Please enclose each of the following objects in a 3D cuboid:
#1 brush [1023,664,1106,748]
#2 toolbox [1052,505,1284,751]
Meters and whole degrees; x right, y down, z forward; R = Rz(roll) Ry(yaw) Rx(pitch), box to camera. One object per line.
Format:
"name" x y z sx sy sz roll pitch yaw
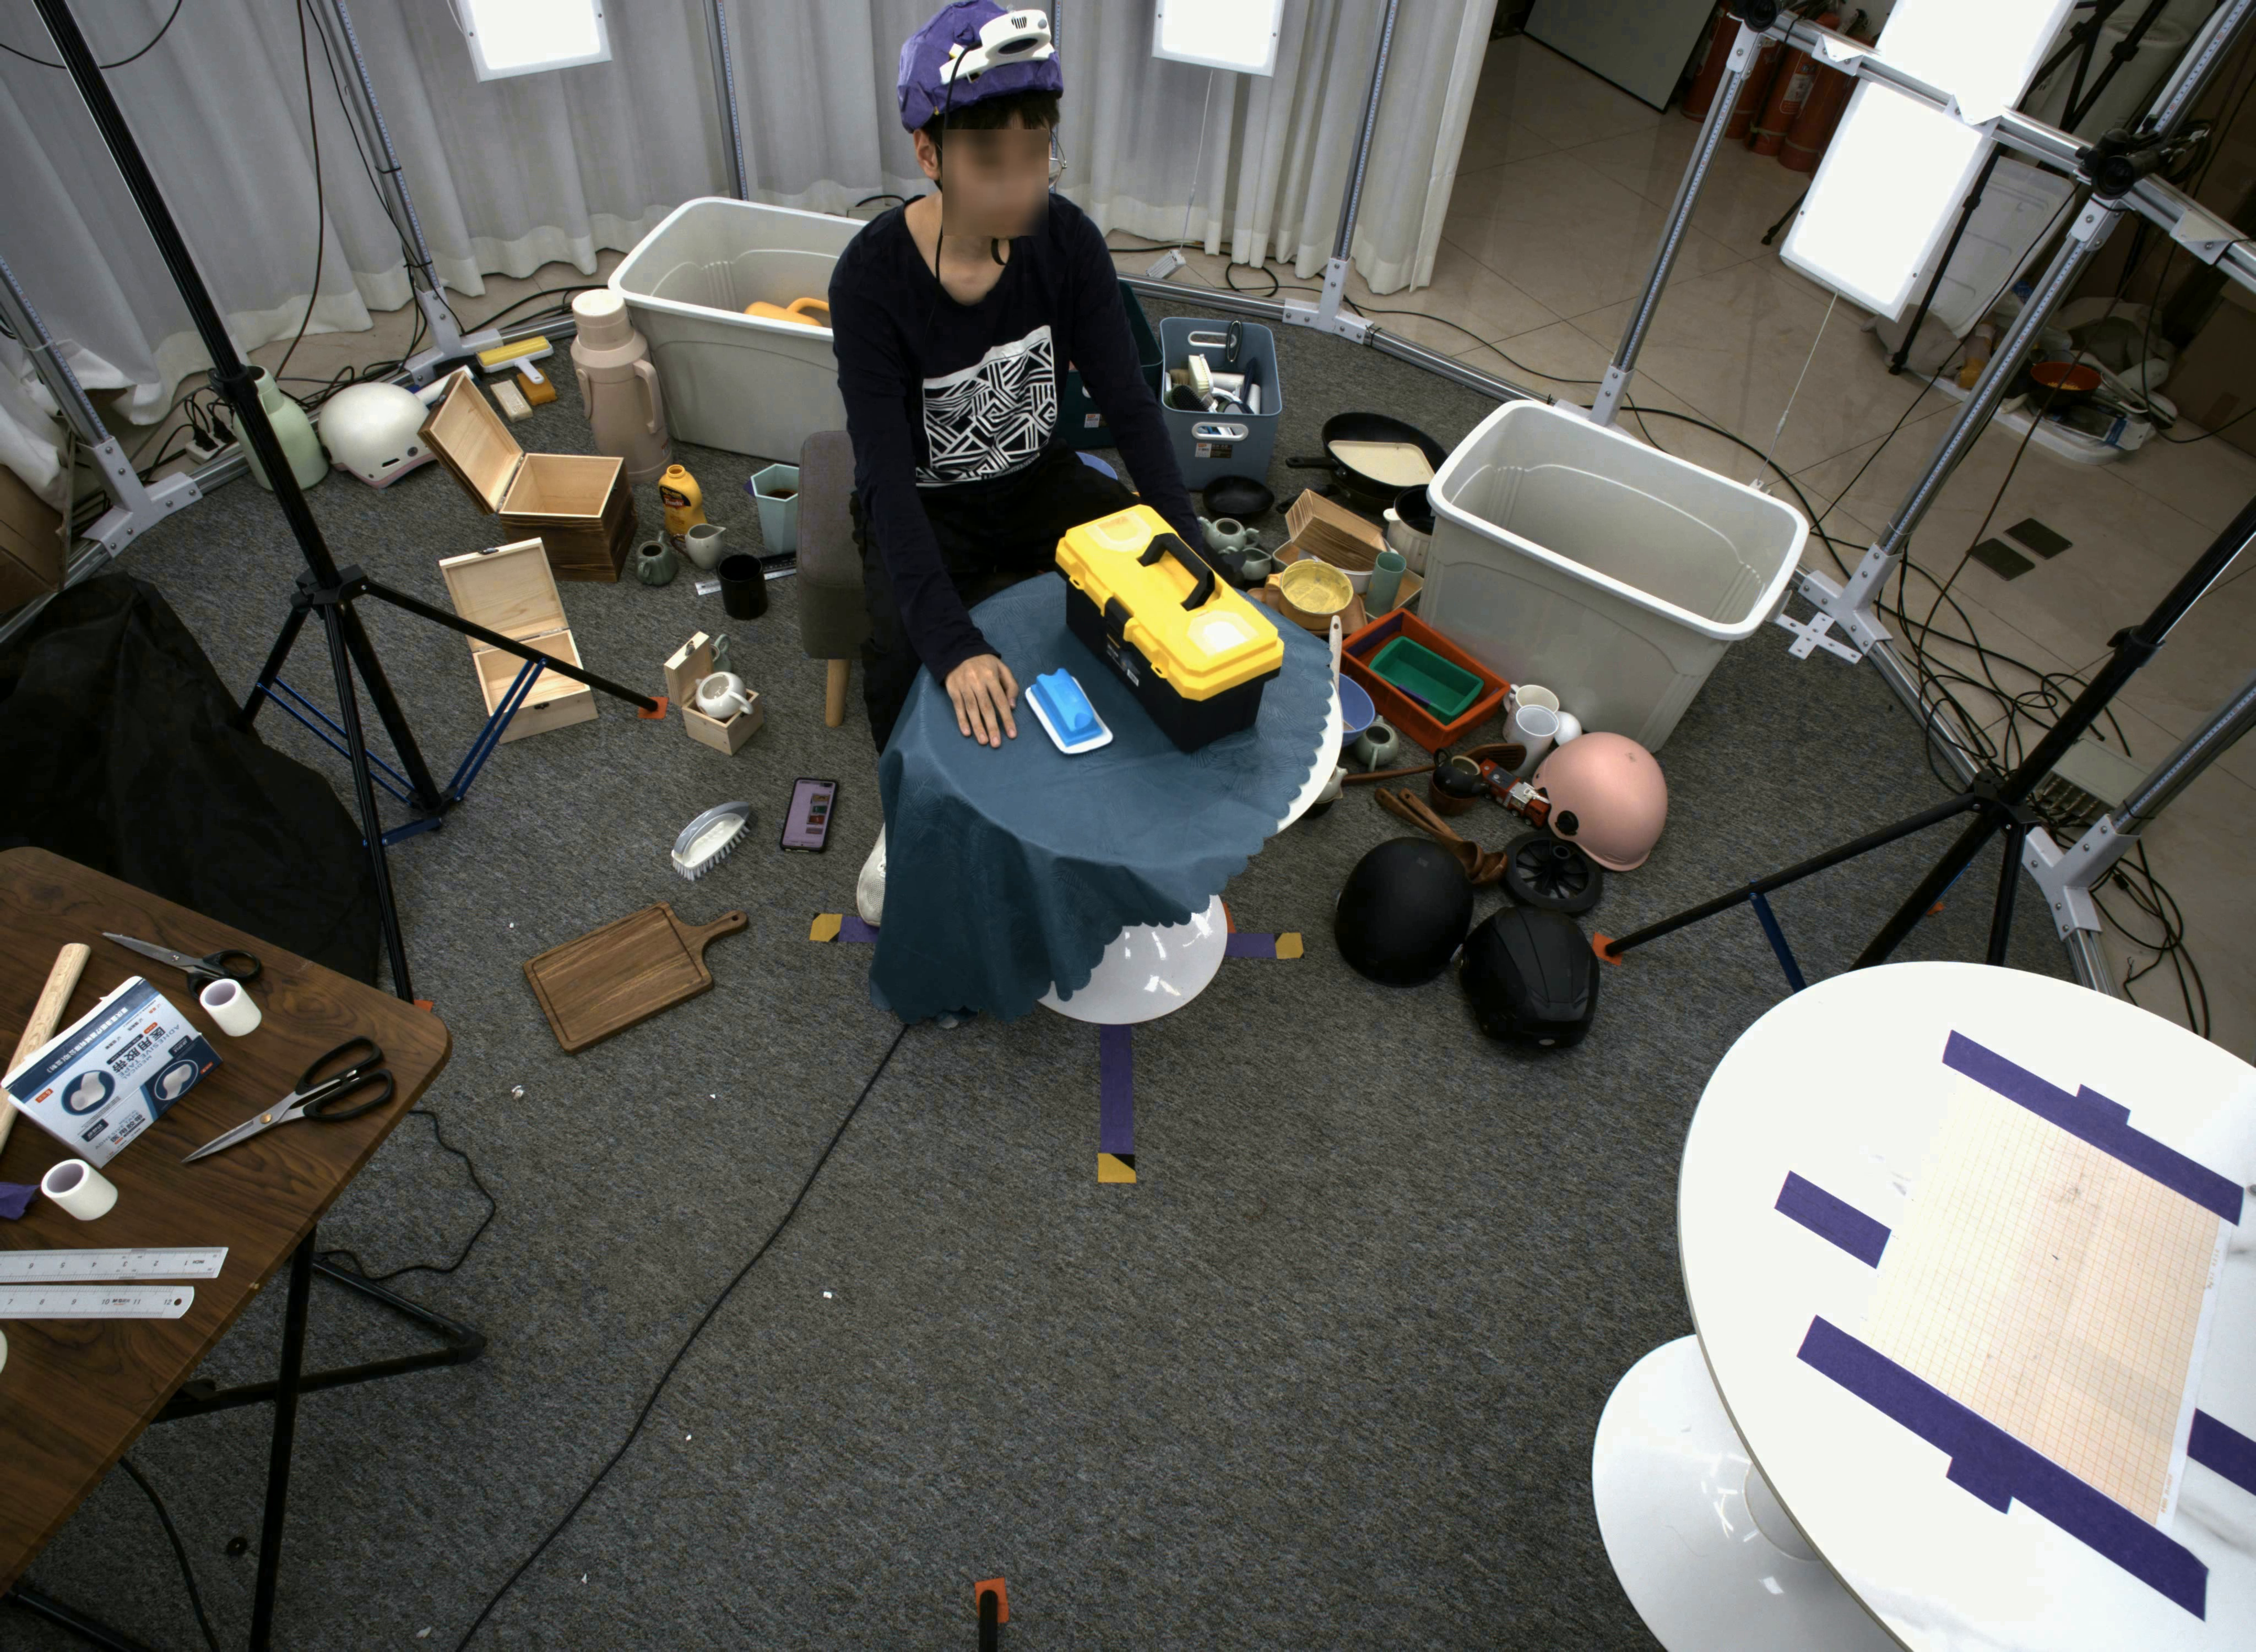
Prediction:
"brush" -0.086 -0.173 1.773 0.084 0.054 0.147 -14 53 -19
"toolbox" 0.048 -0.279 1.801 0.182 0.168 0.358 -24 54 -23
